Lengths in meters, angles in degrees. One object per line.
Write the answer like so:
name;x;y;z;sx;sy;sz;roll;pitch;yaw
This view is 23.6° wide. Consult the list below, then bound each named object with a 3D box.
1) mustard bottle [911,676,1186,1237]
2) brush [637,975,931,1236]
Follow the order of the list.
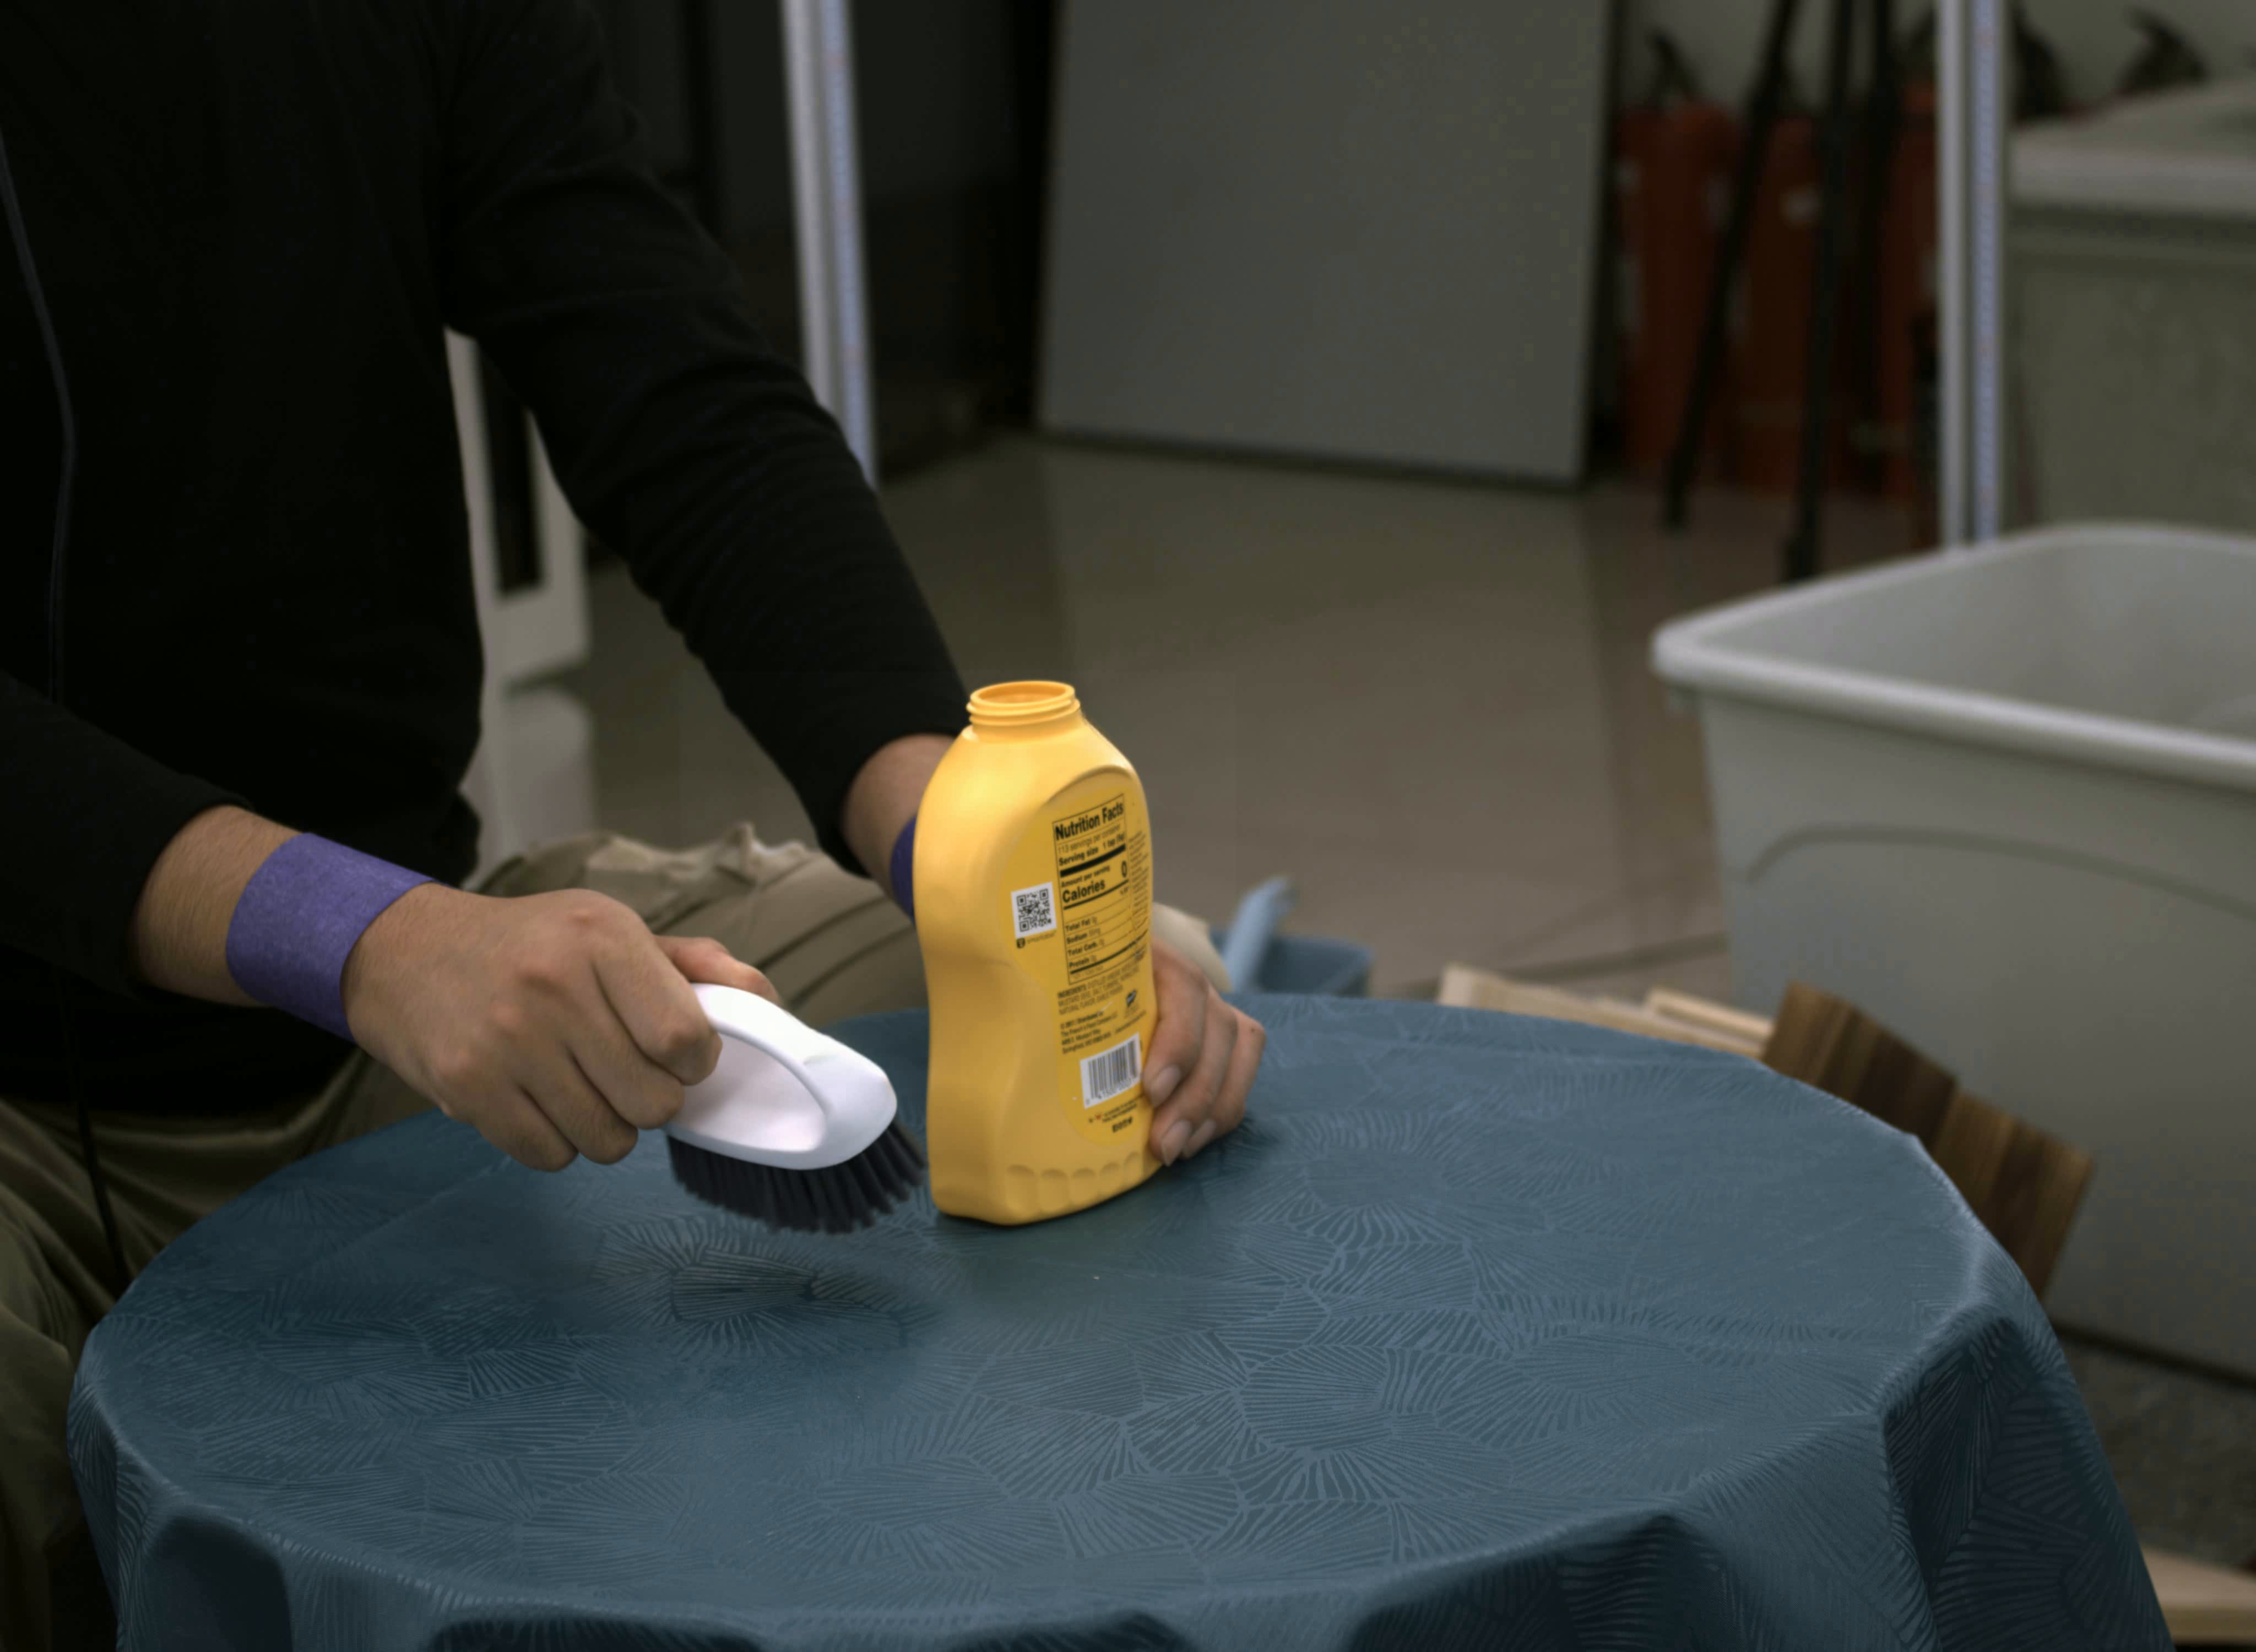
mustard bottle;-0.028;0.040;1.754;0.060;0.174;0.096;1;14;36
brush;-0.114;0.079;1.683;0.100;0.072;0.050;16;53;45
